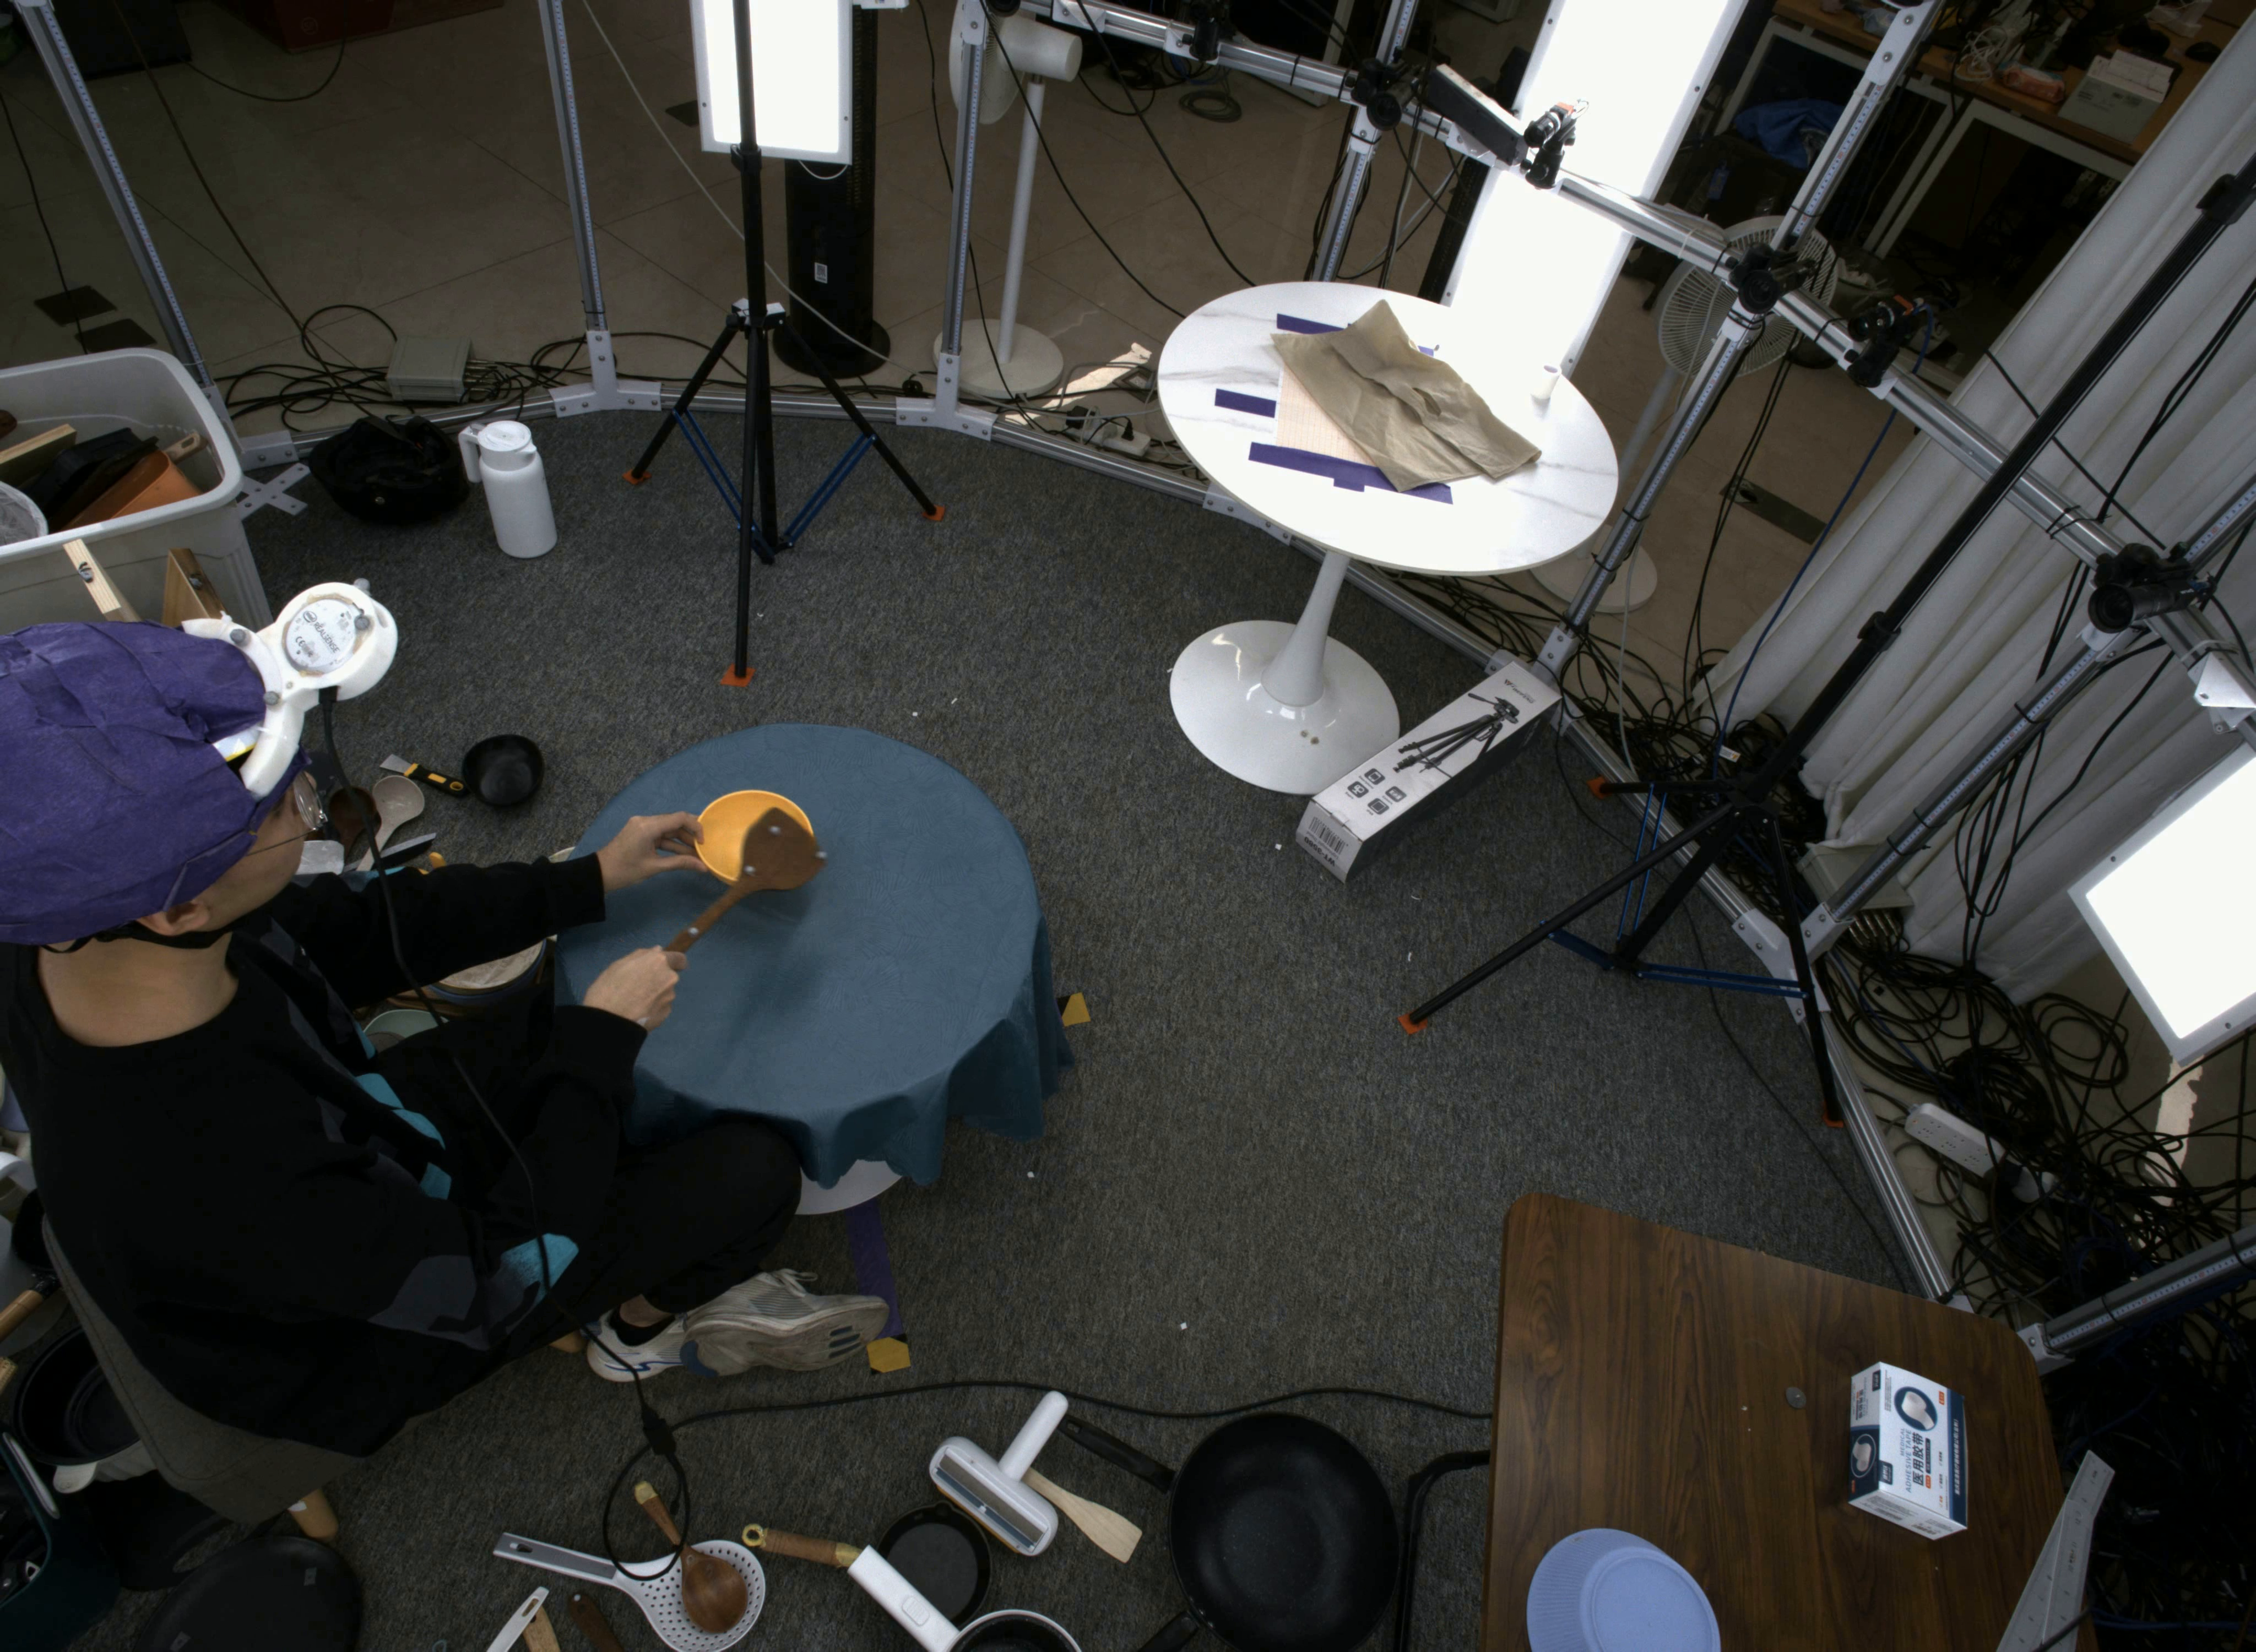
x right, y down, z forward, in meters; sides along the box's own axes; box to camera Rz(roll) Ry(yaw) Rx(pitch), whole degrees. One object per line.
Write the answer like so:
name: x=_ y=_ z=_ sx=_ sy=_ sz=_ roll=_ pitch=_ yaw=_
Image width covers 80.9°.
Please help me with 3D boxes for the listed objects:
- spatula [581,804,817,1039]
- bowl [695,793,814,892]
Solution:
spatula: x=-0.467 y=0.101 z=1.396 sx=0.098 sy=0.015 sz=0.383 roll=51 pitch=38 yaw=-13
bowl: x=-0.468 y=0.030 z=1.625 sx=0.145 sy=0.061 sz=0.142 roll=9 pitch=51 yaw=-9
